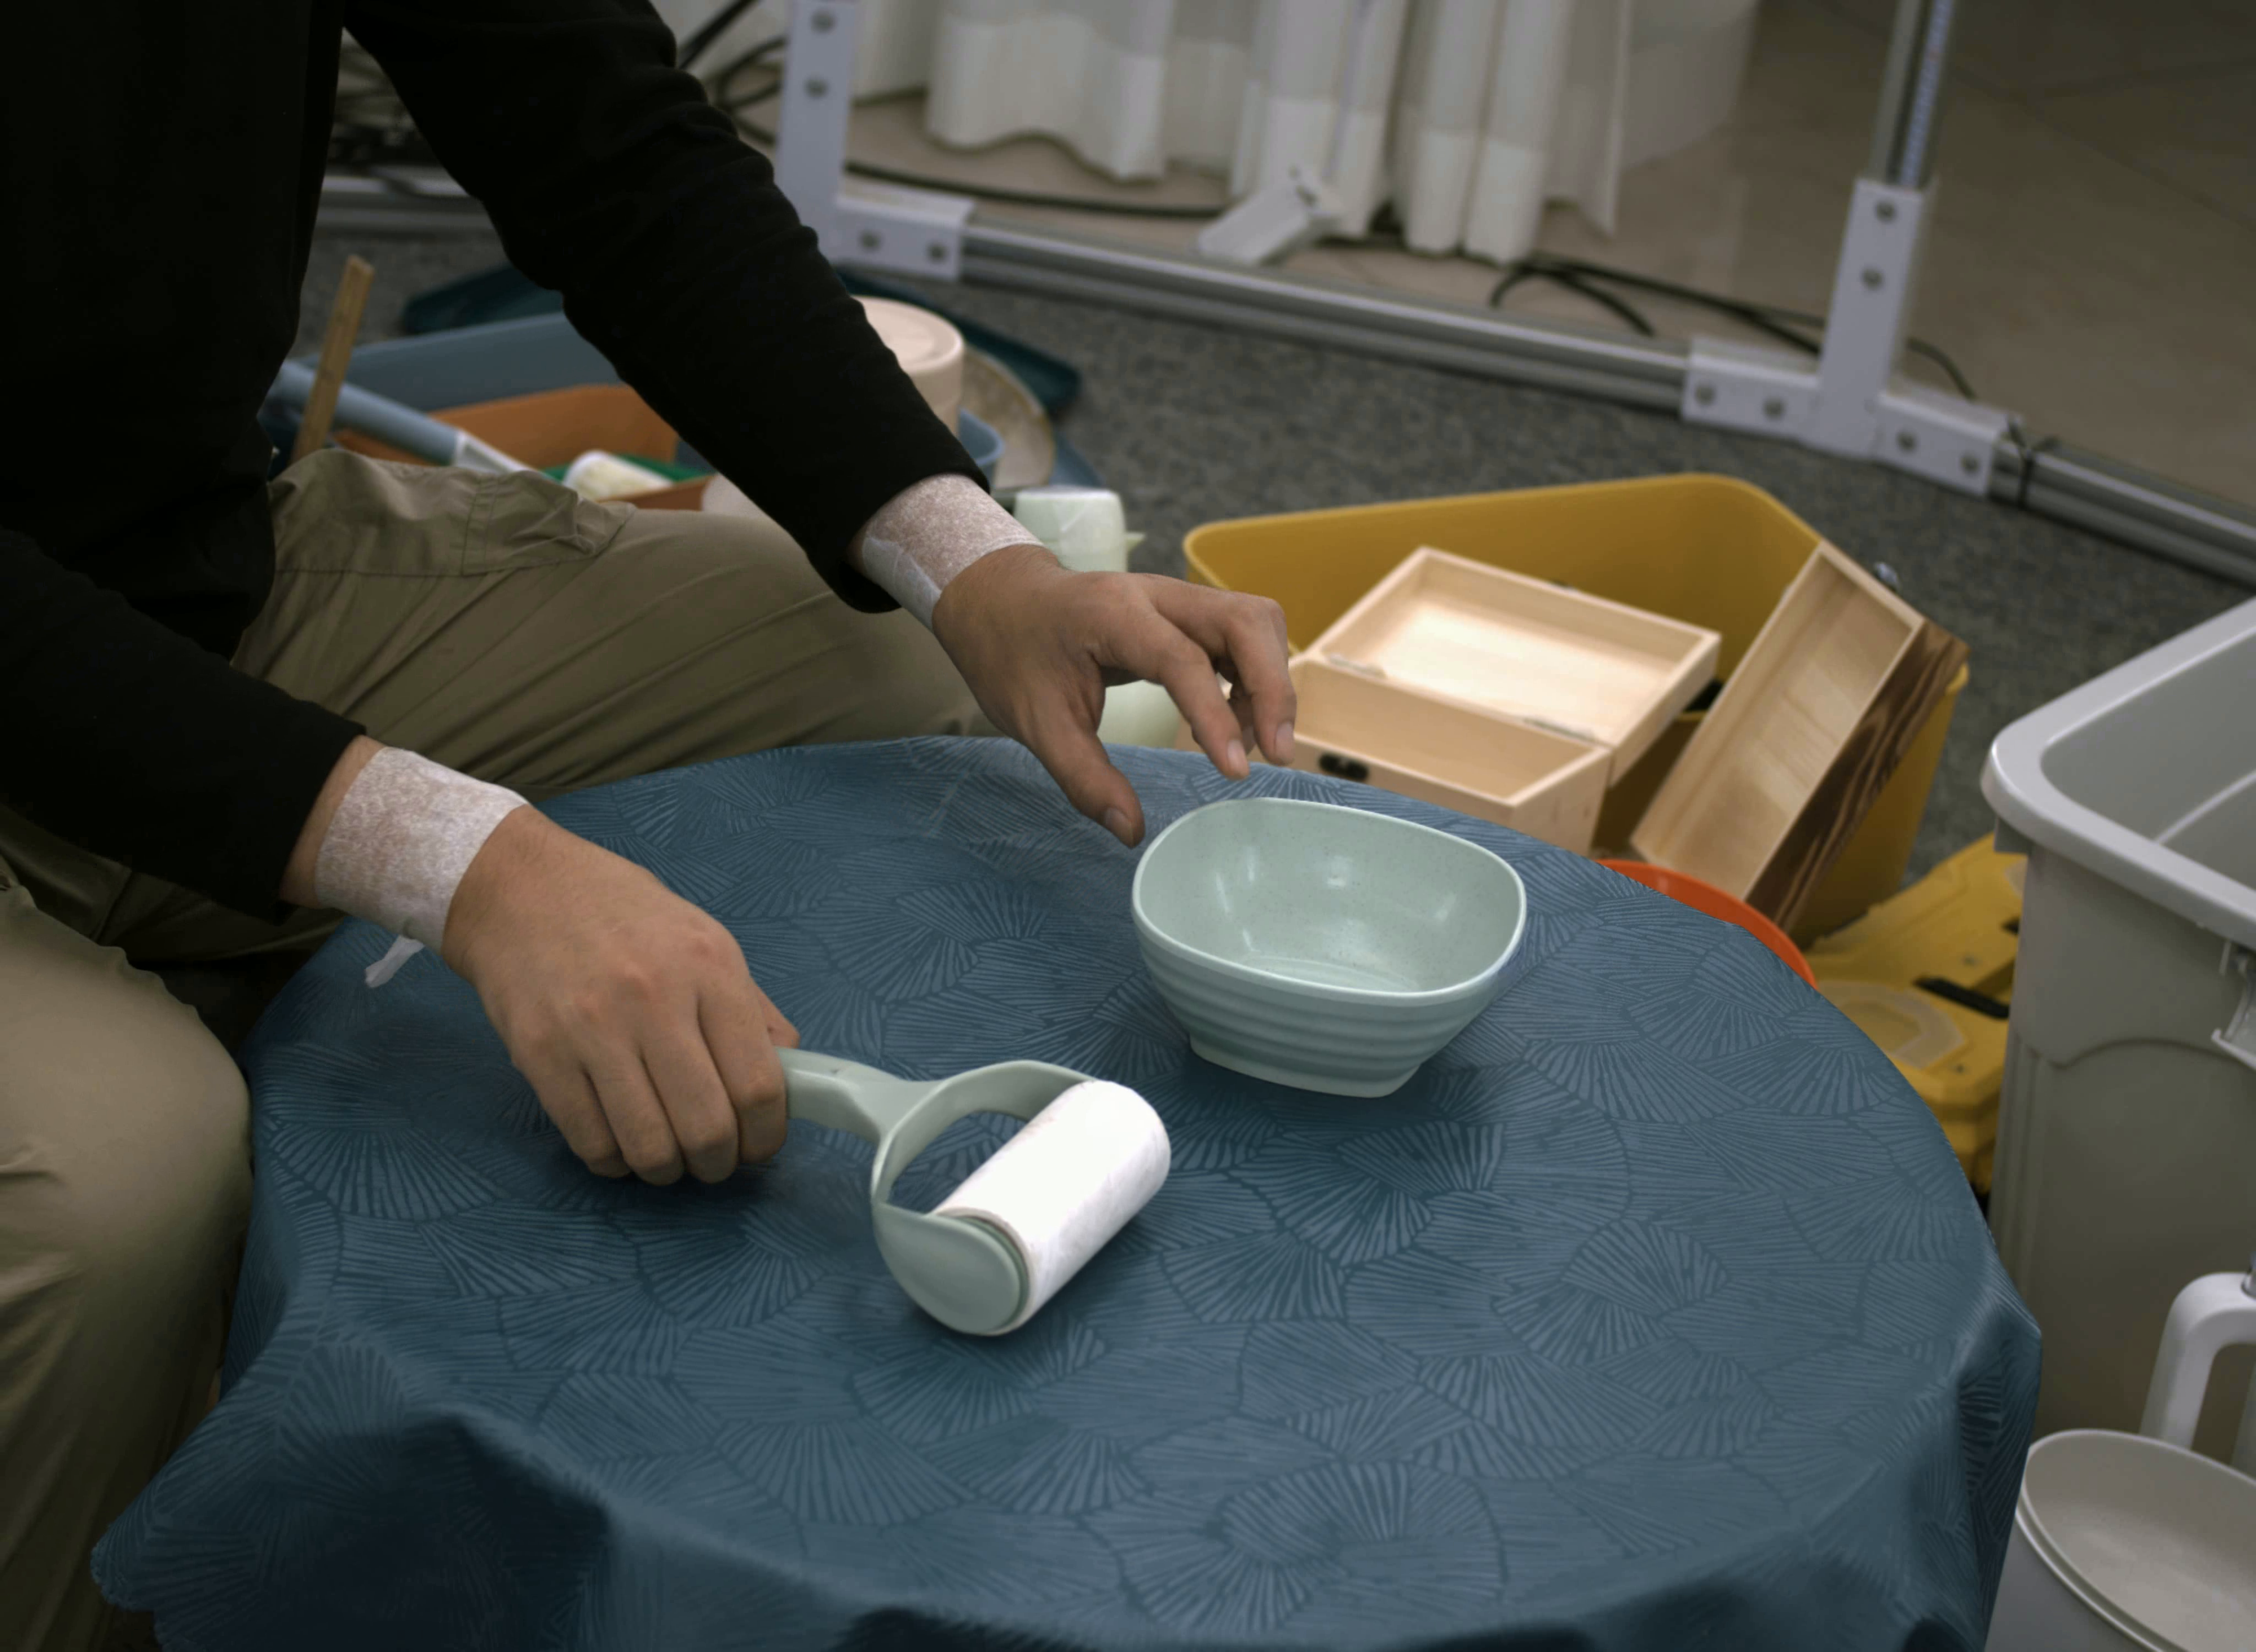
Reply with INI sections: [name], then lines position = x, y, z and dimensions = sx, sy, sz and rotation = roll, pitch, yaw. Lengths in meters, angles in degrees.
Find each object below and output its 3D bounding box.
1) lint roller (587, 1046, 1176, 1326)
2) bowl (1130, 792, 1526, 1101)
[lint roller]
position = -0.091, 0.100, 1.775
dimensions = 0.198, 0.048, 0.116
rotation = 18, 31, 20
[bowl]
position = 0.068, 0.049, 1.902
dimensions = 0.151, 0.058, 0.152
rotation = 6, 28, -4
